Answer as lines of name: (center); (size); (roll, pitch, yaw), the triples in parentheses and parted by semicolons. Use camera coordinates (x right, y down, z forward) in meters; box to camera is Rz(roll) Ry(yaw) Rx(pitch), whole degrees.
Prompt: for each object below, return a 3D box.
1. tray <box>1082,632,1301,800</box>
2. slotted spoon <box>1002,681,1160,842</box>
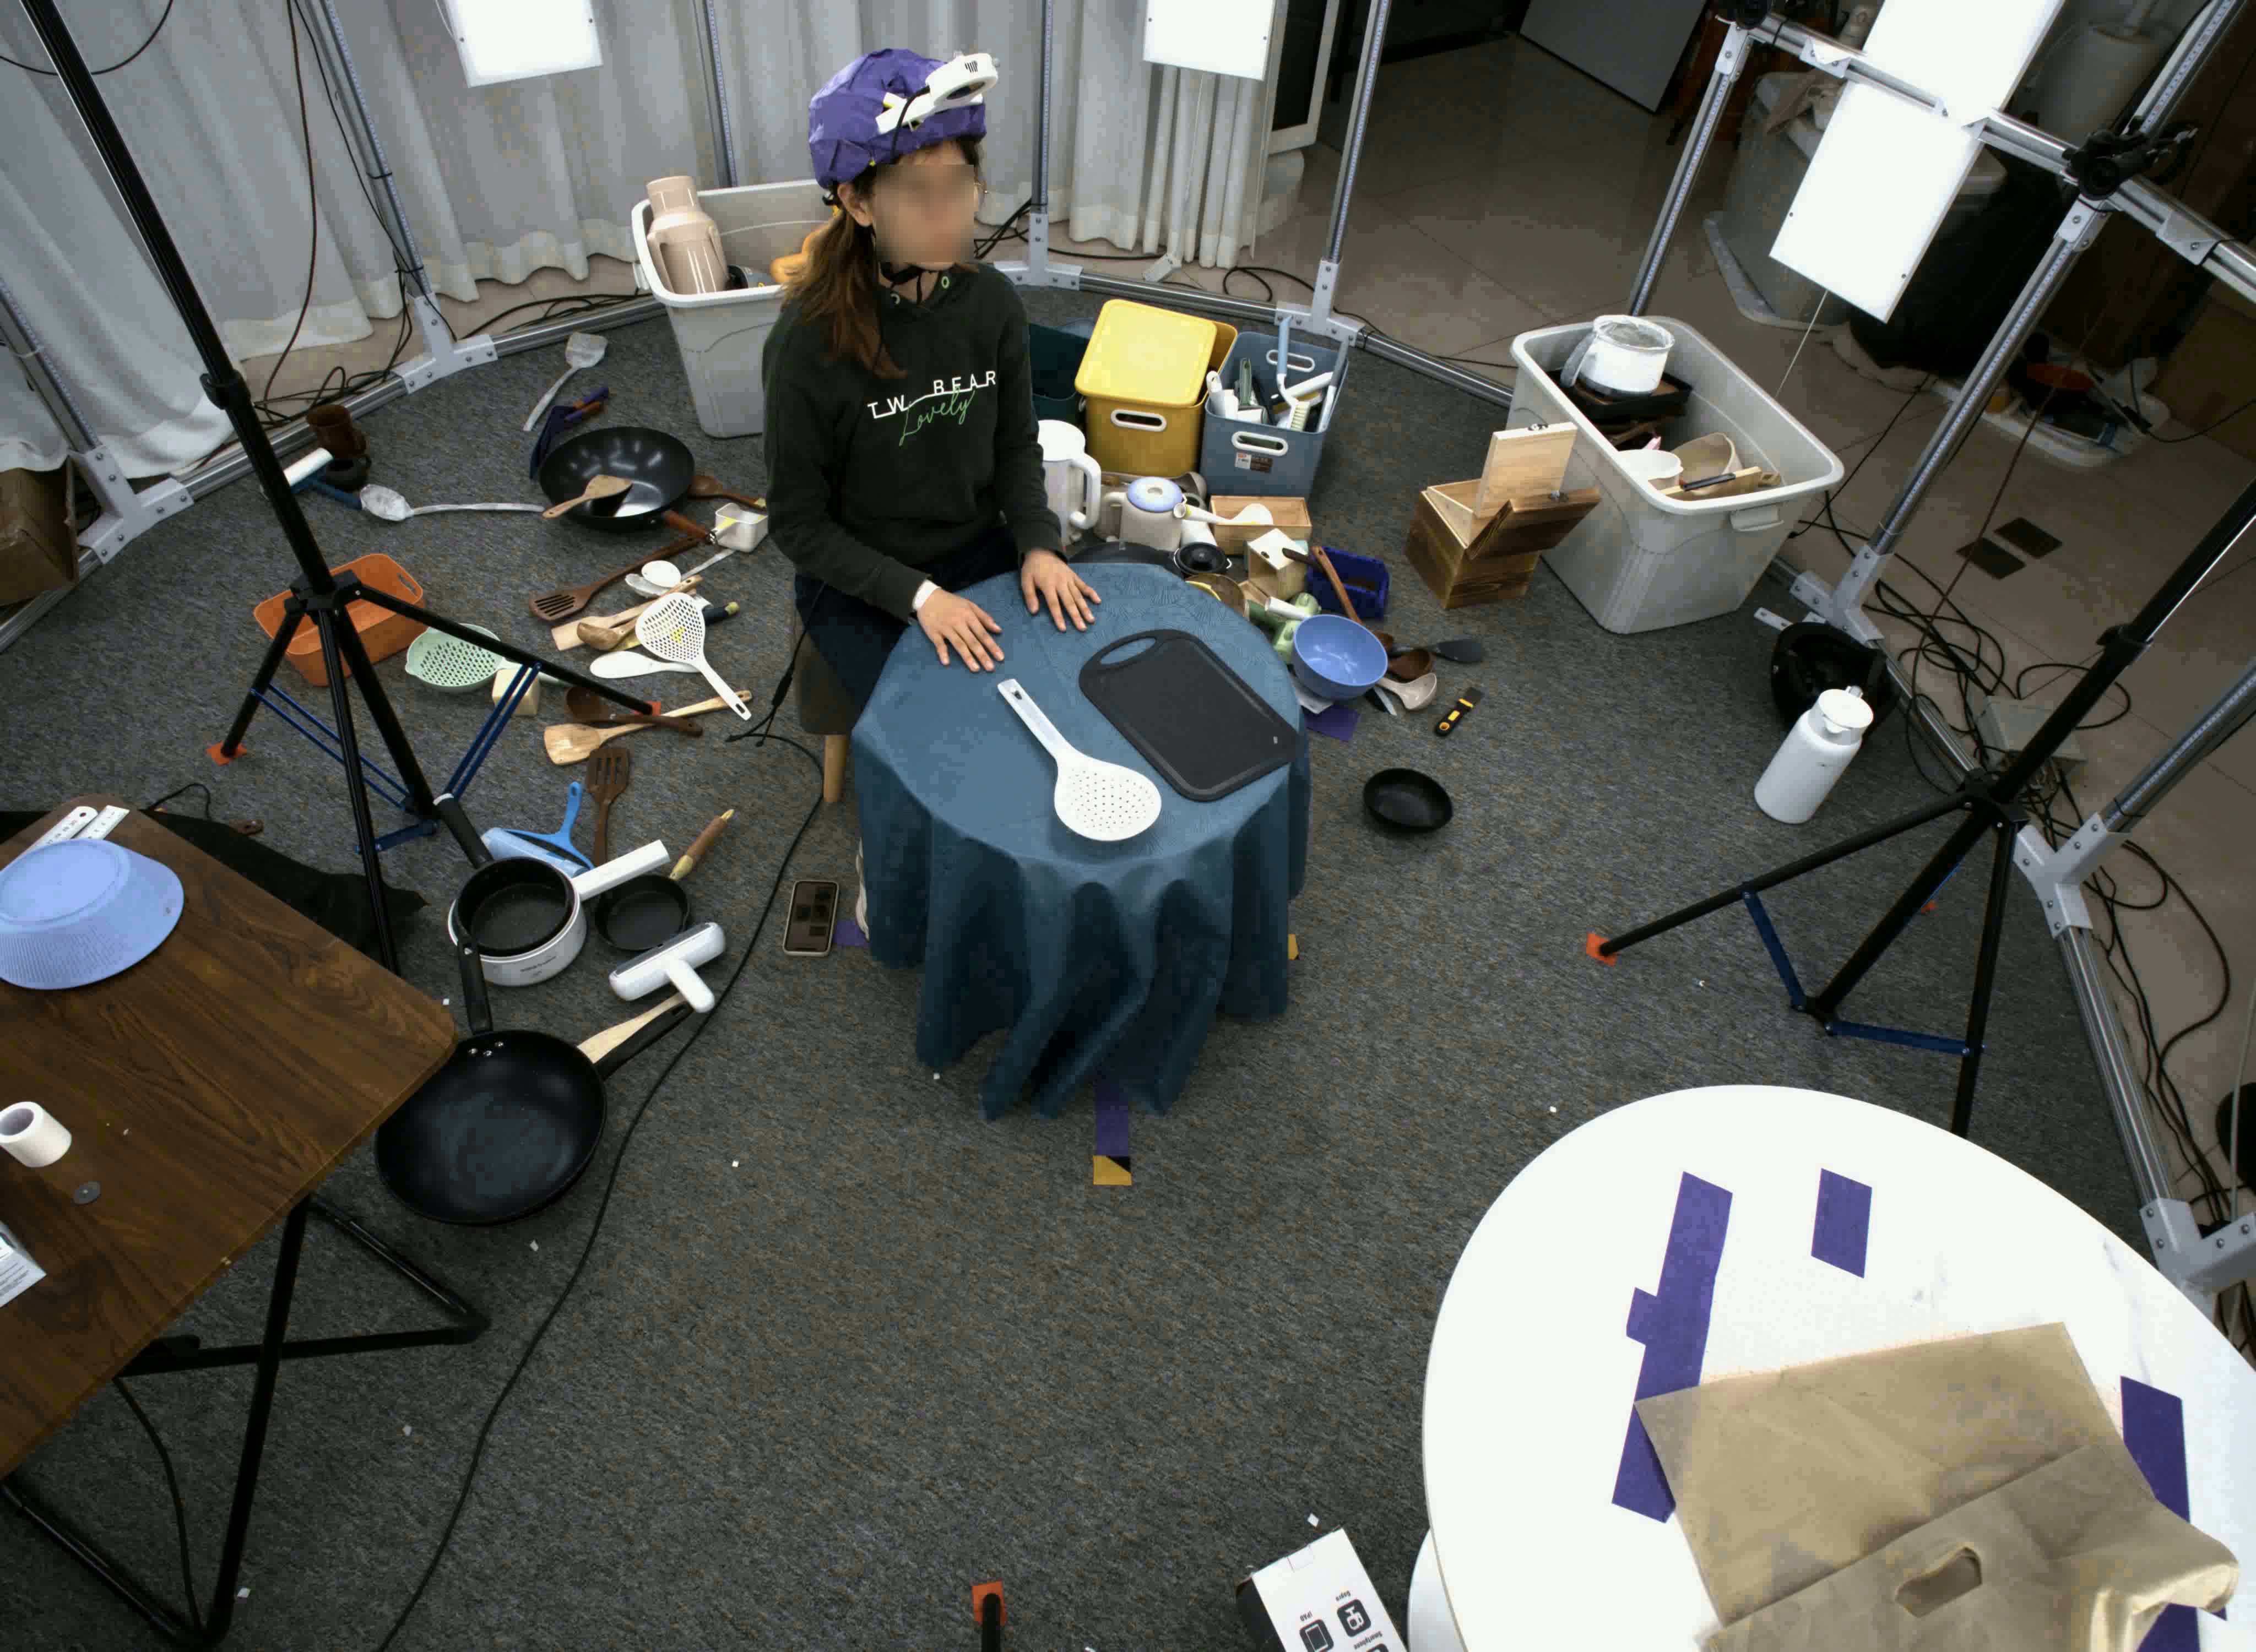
tray: (0.082, -0.169, 1.832); (0.212, 0.009, 0.332); (-26, 55, -24)
slotted spoon: (-0.082, -0.092, 1.729); (0.136, 0.044, 0.357); (-20, 52, -23)
